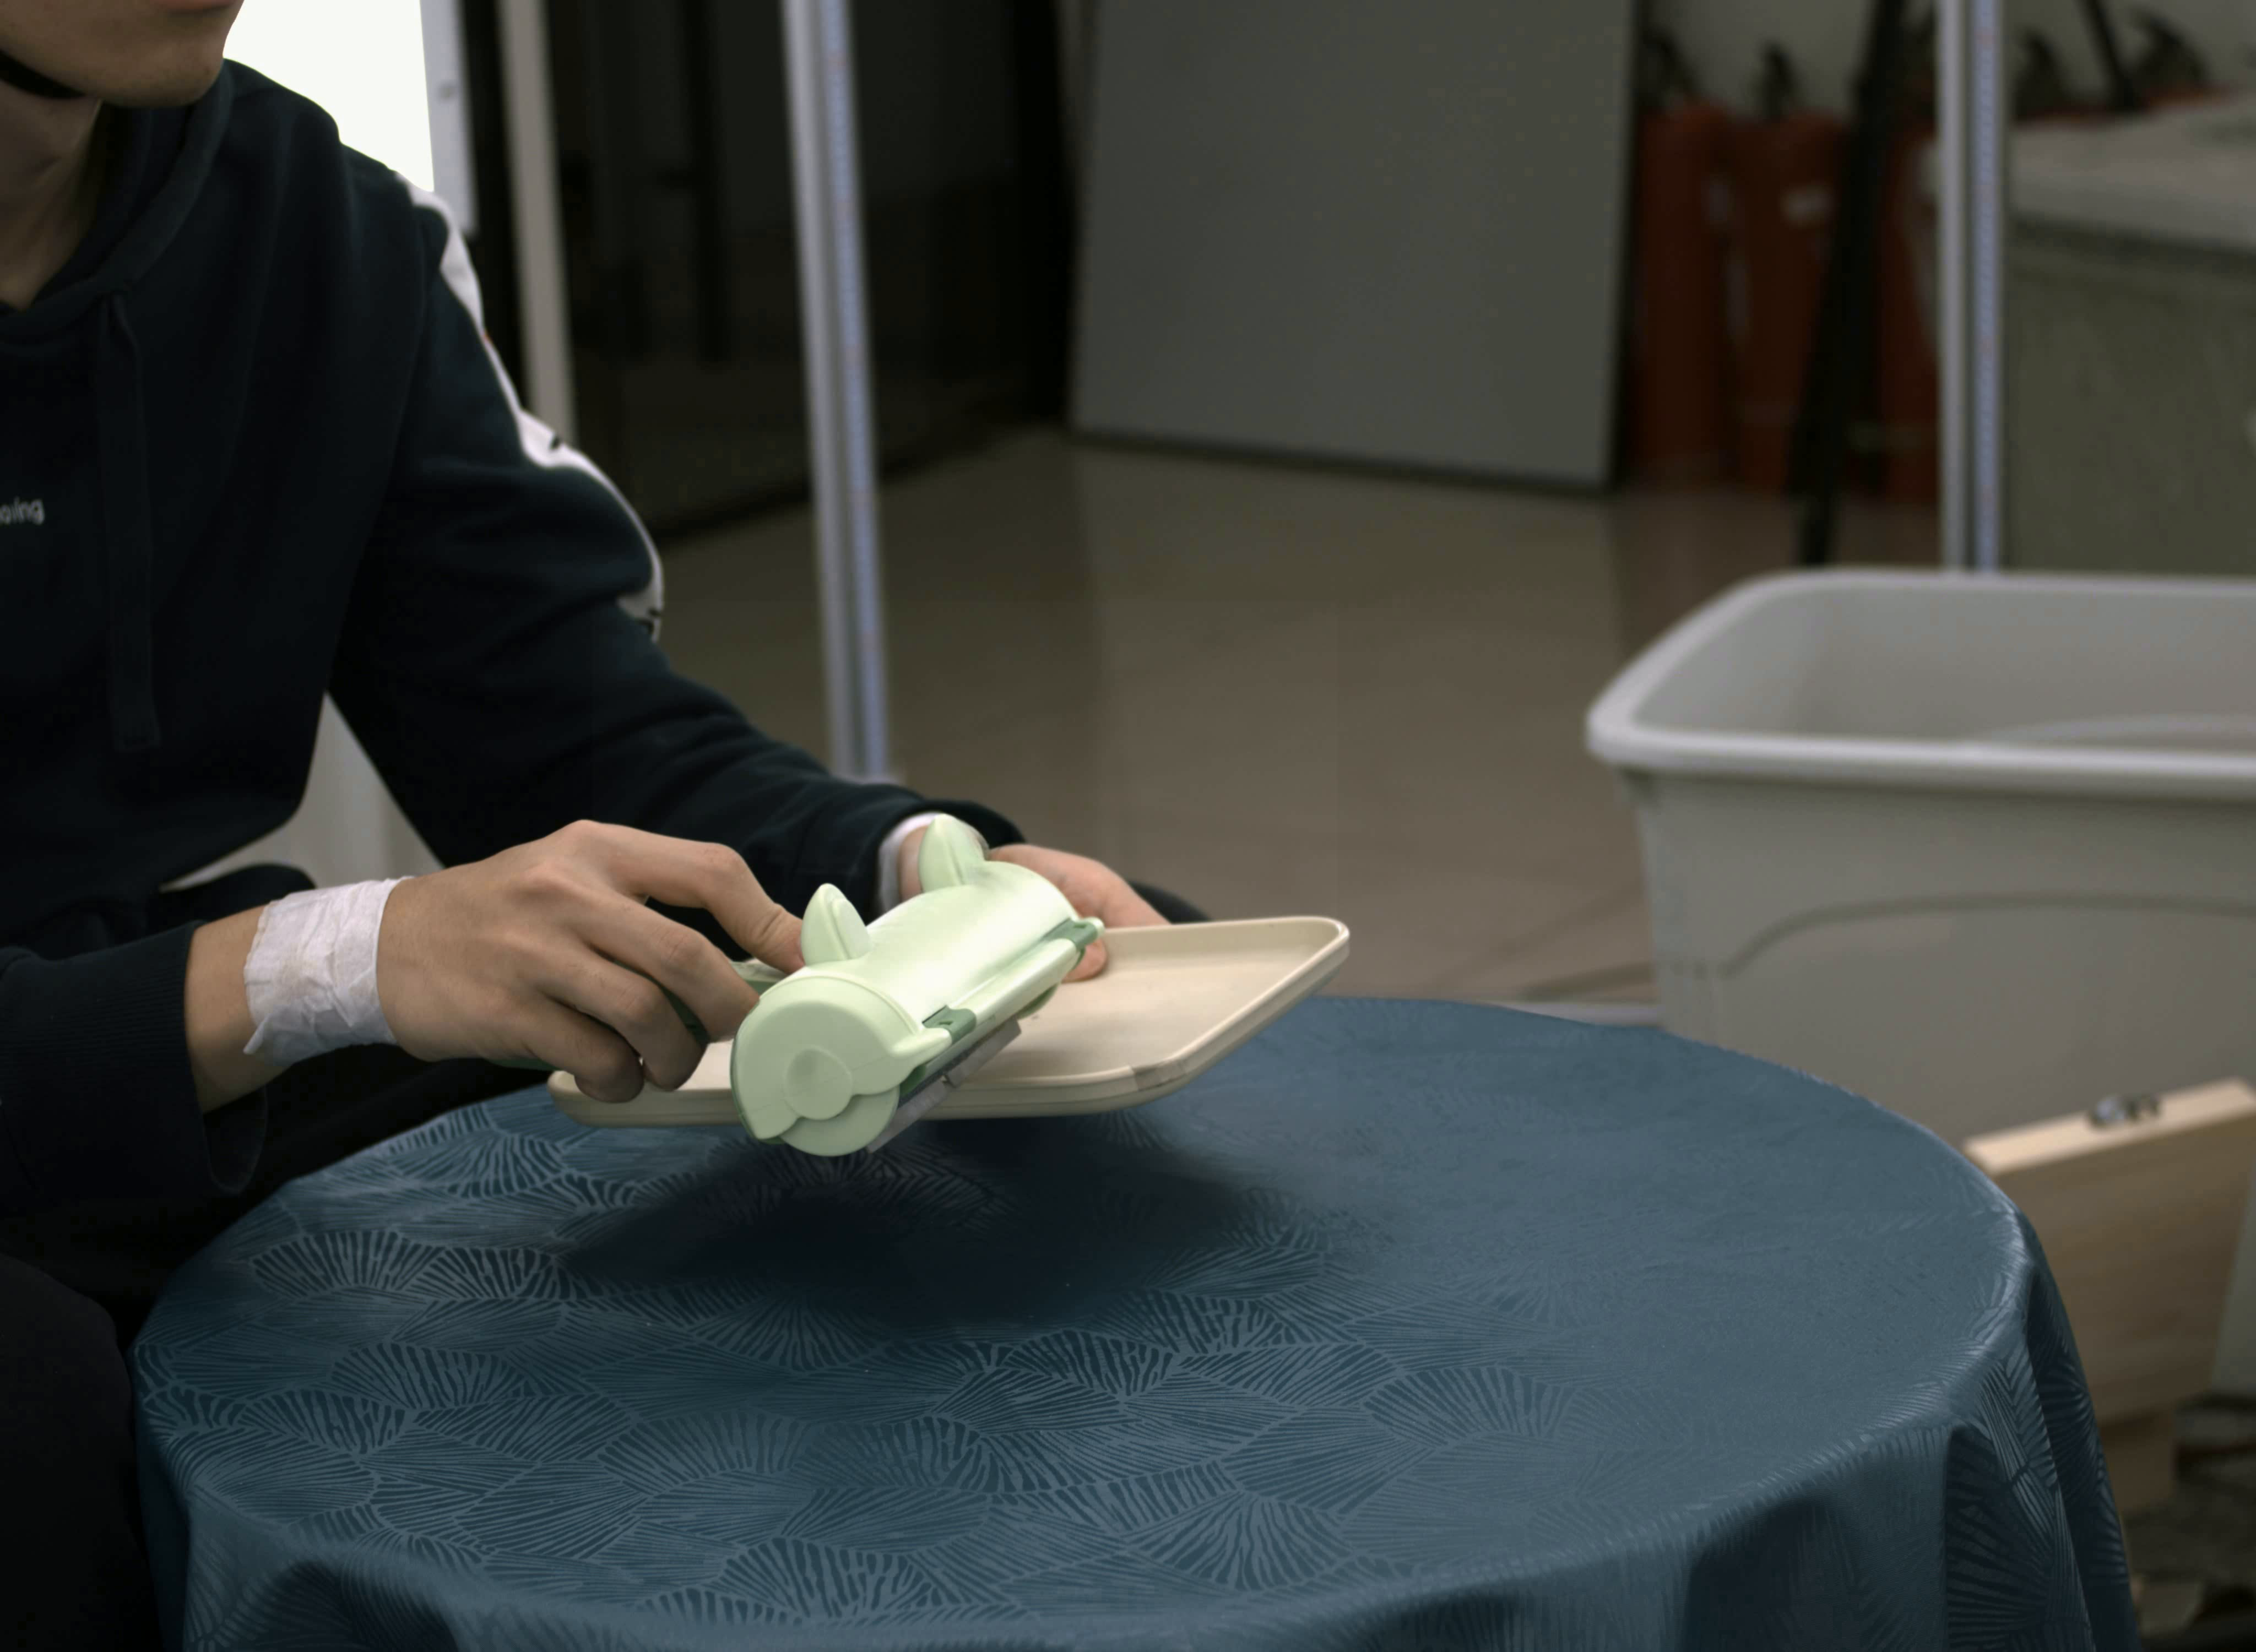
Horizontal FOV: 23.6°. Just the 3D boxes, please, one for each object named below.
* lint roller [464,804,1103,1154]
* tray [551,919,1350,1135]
[{"bbox_3d":[-0.118,0.040,1.659,0.182,0.083,0.197,6,12,16],"label":"lint roller"},{"bbox_3d":[-0.056,0.067,1.755,0.240,0.017,0.169,-5,13,30],"label":"tray"}]
